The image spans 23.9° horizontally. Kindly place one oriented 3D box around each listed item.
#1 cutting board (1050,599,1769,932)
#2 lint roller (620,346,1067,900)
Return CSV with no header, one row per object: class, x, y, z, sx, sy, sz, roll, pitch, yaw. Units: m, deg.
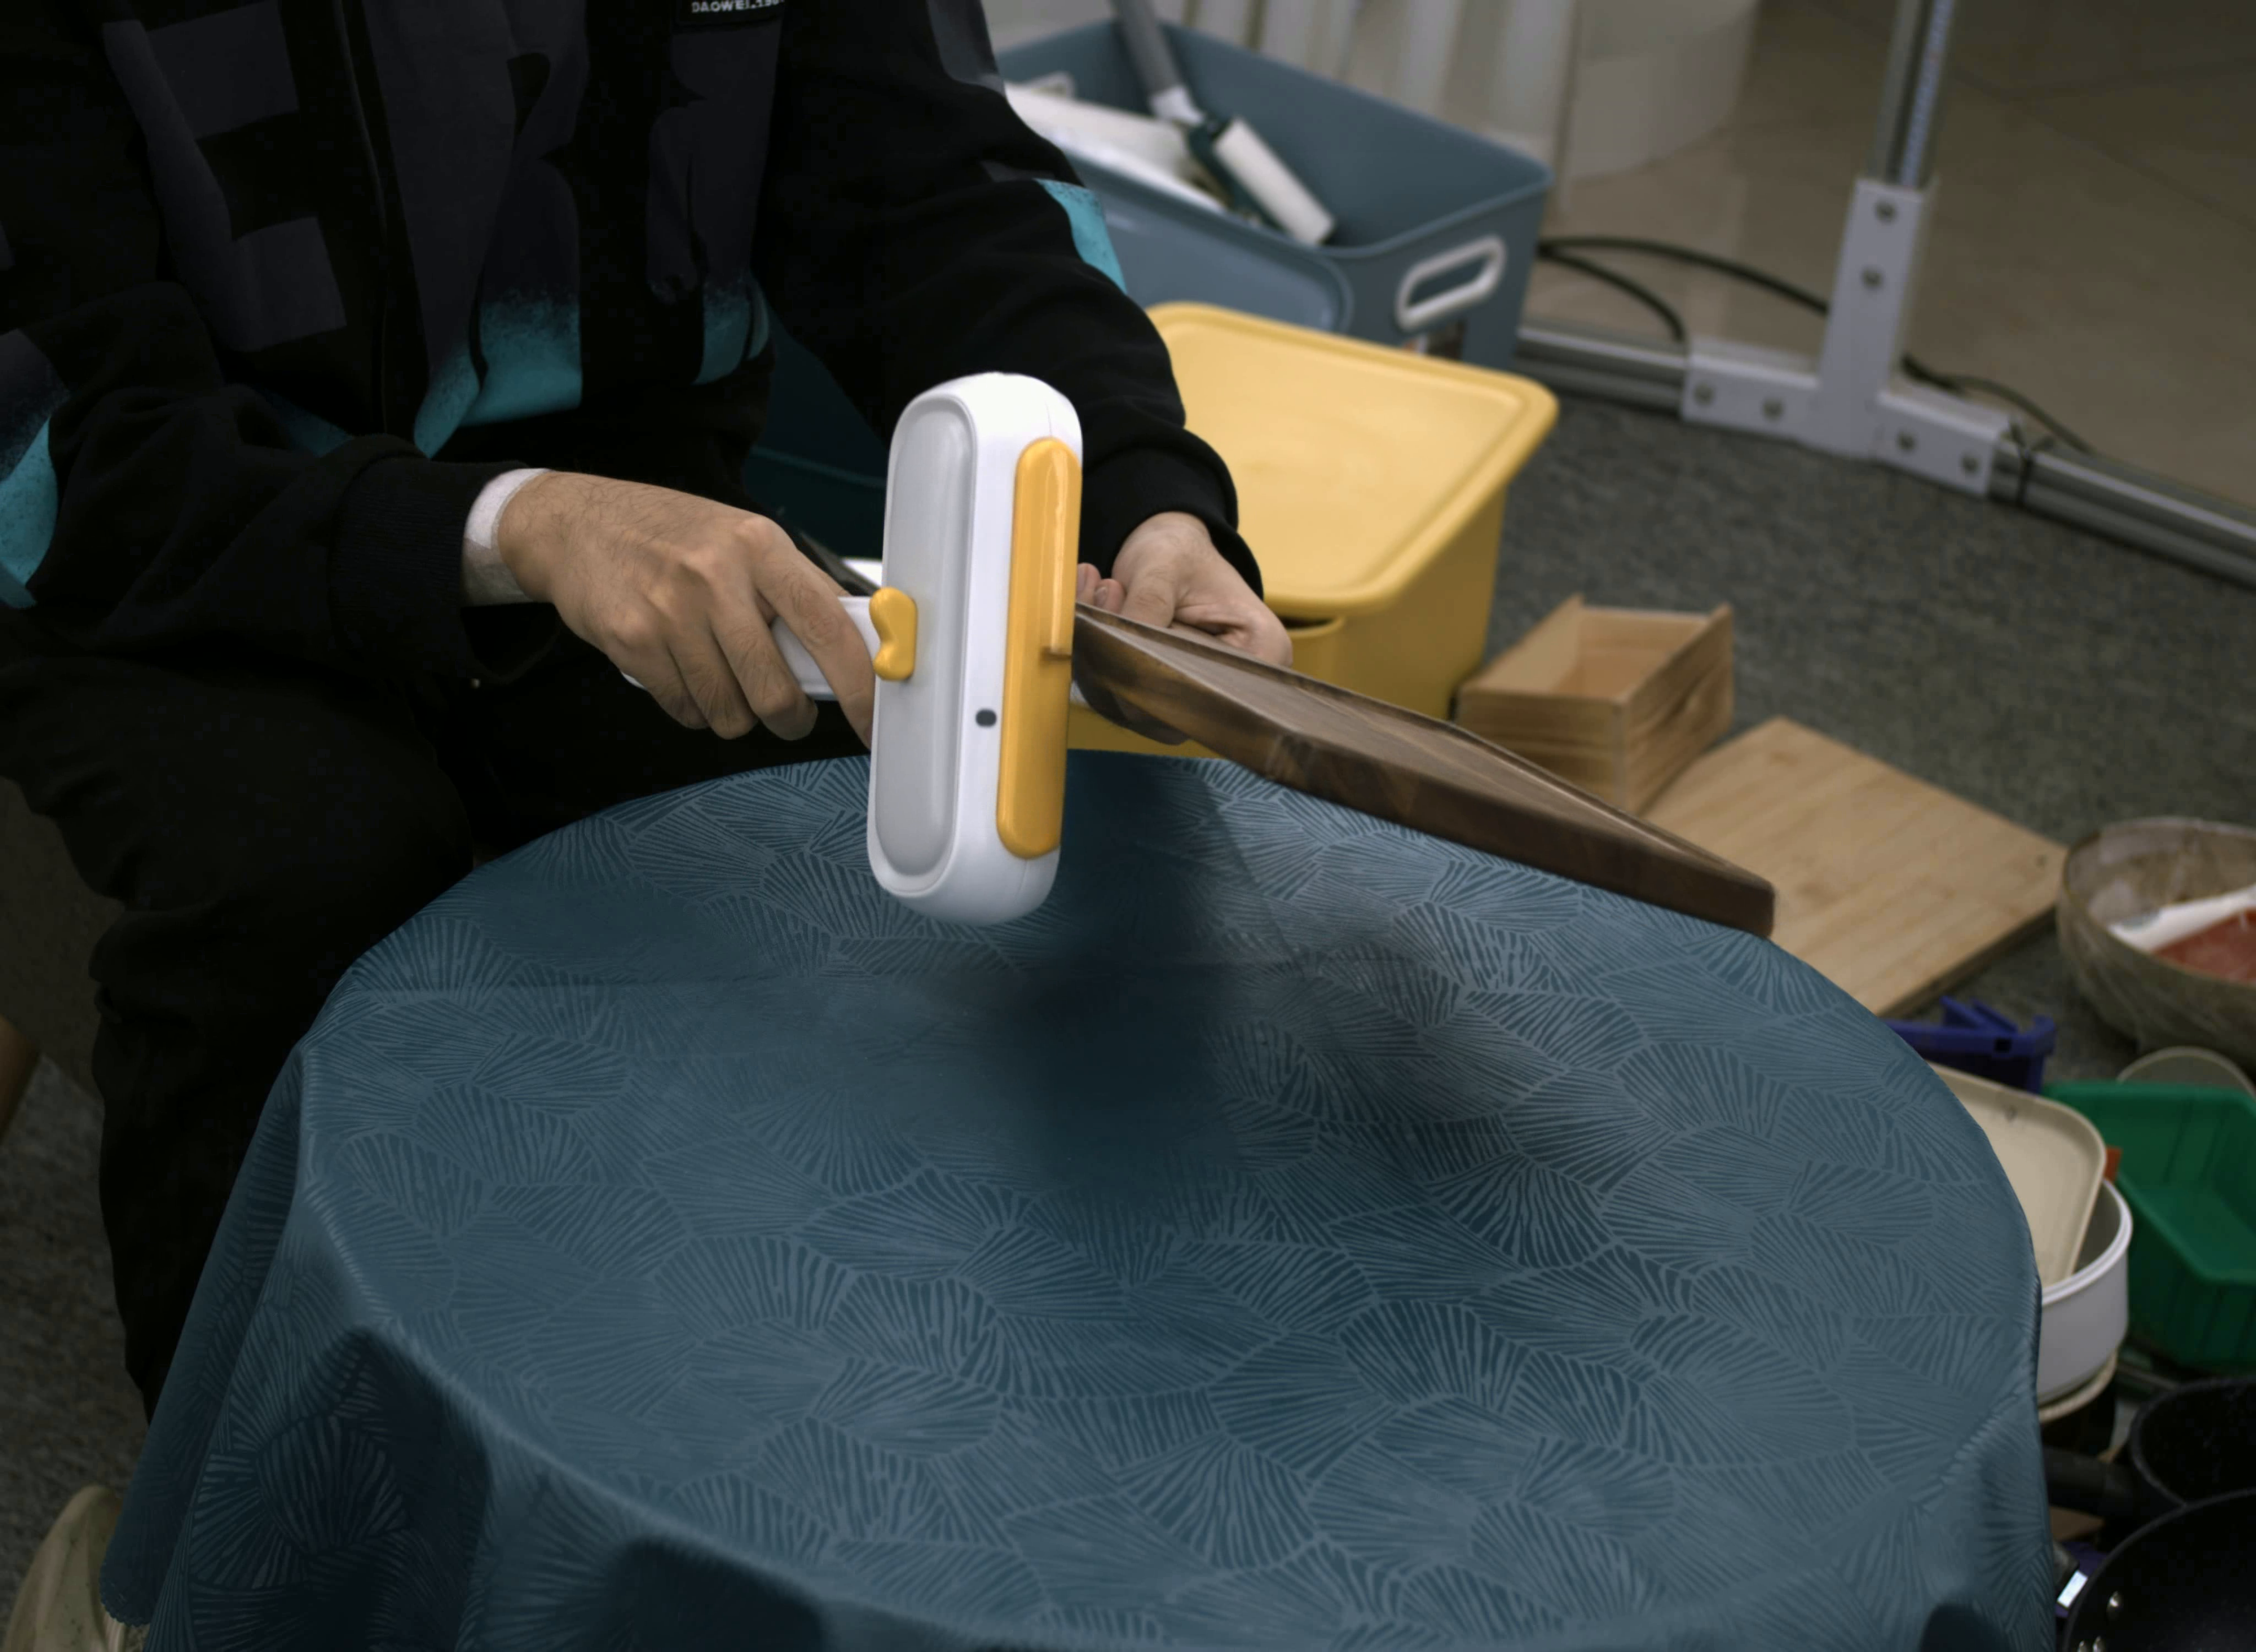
cutting board,0.063,-0.036,1.891,0.199,0.023,0.354,17,6,-26
lint roller,-0.099,-0.065,1.888,0.073,0.193,0.193,2,-7,-44
